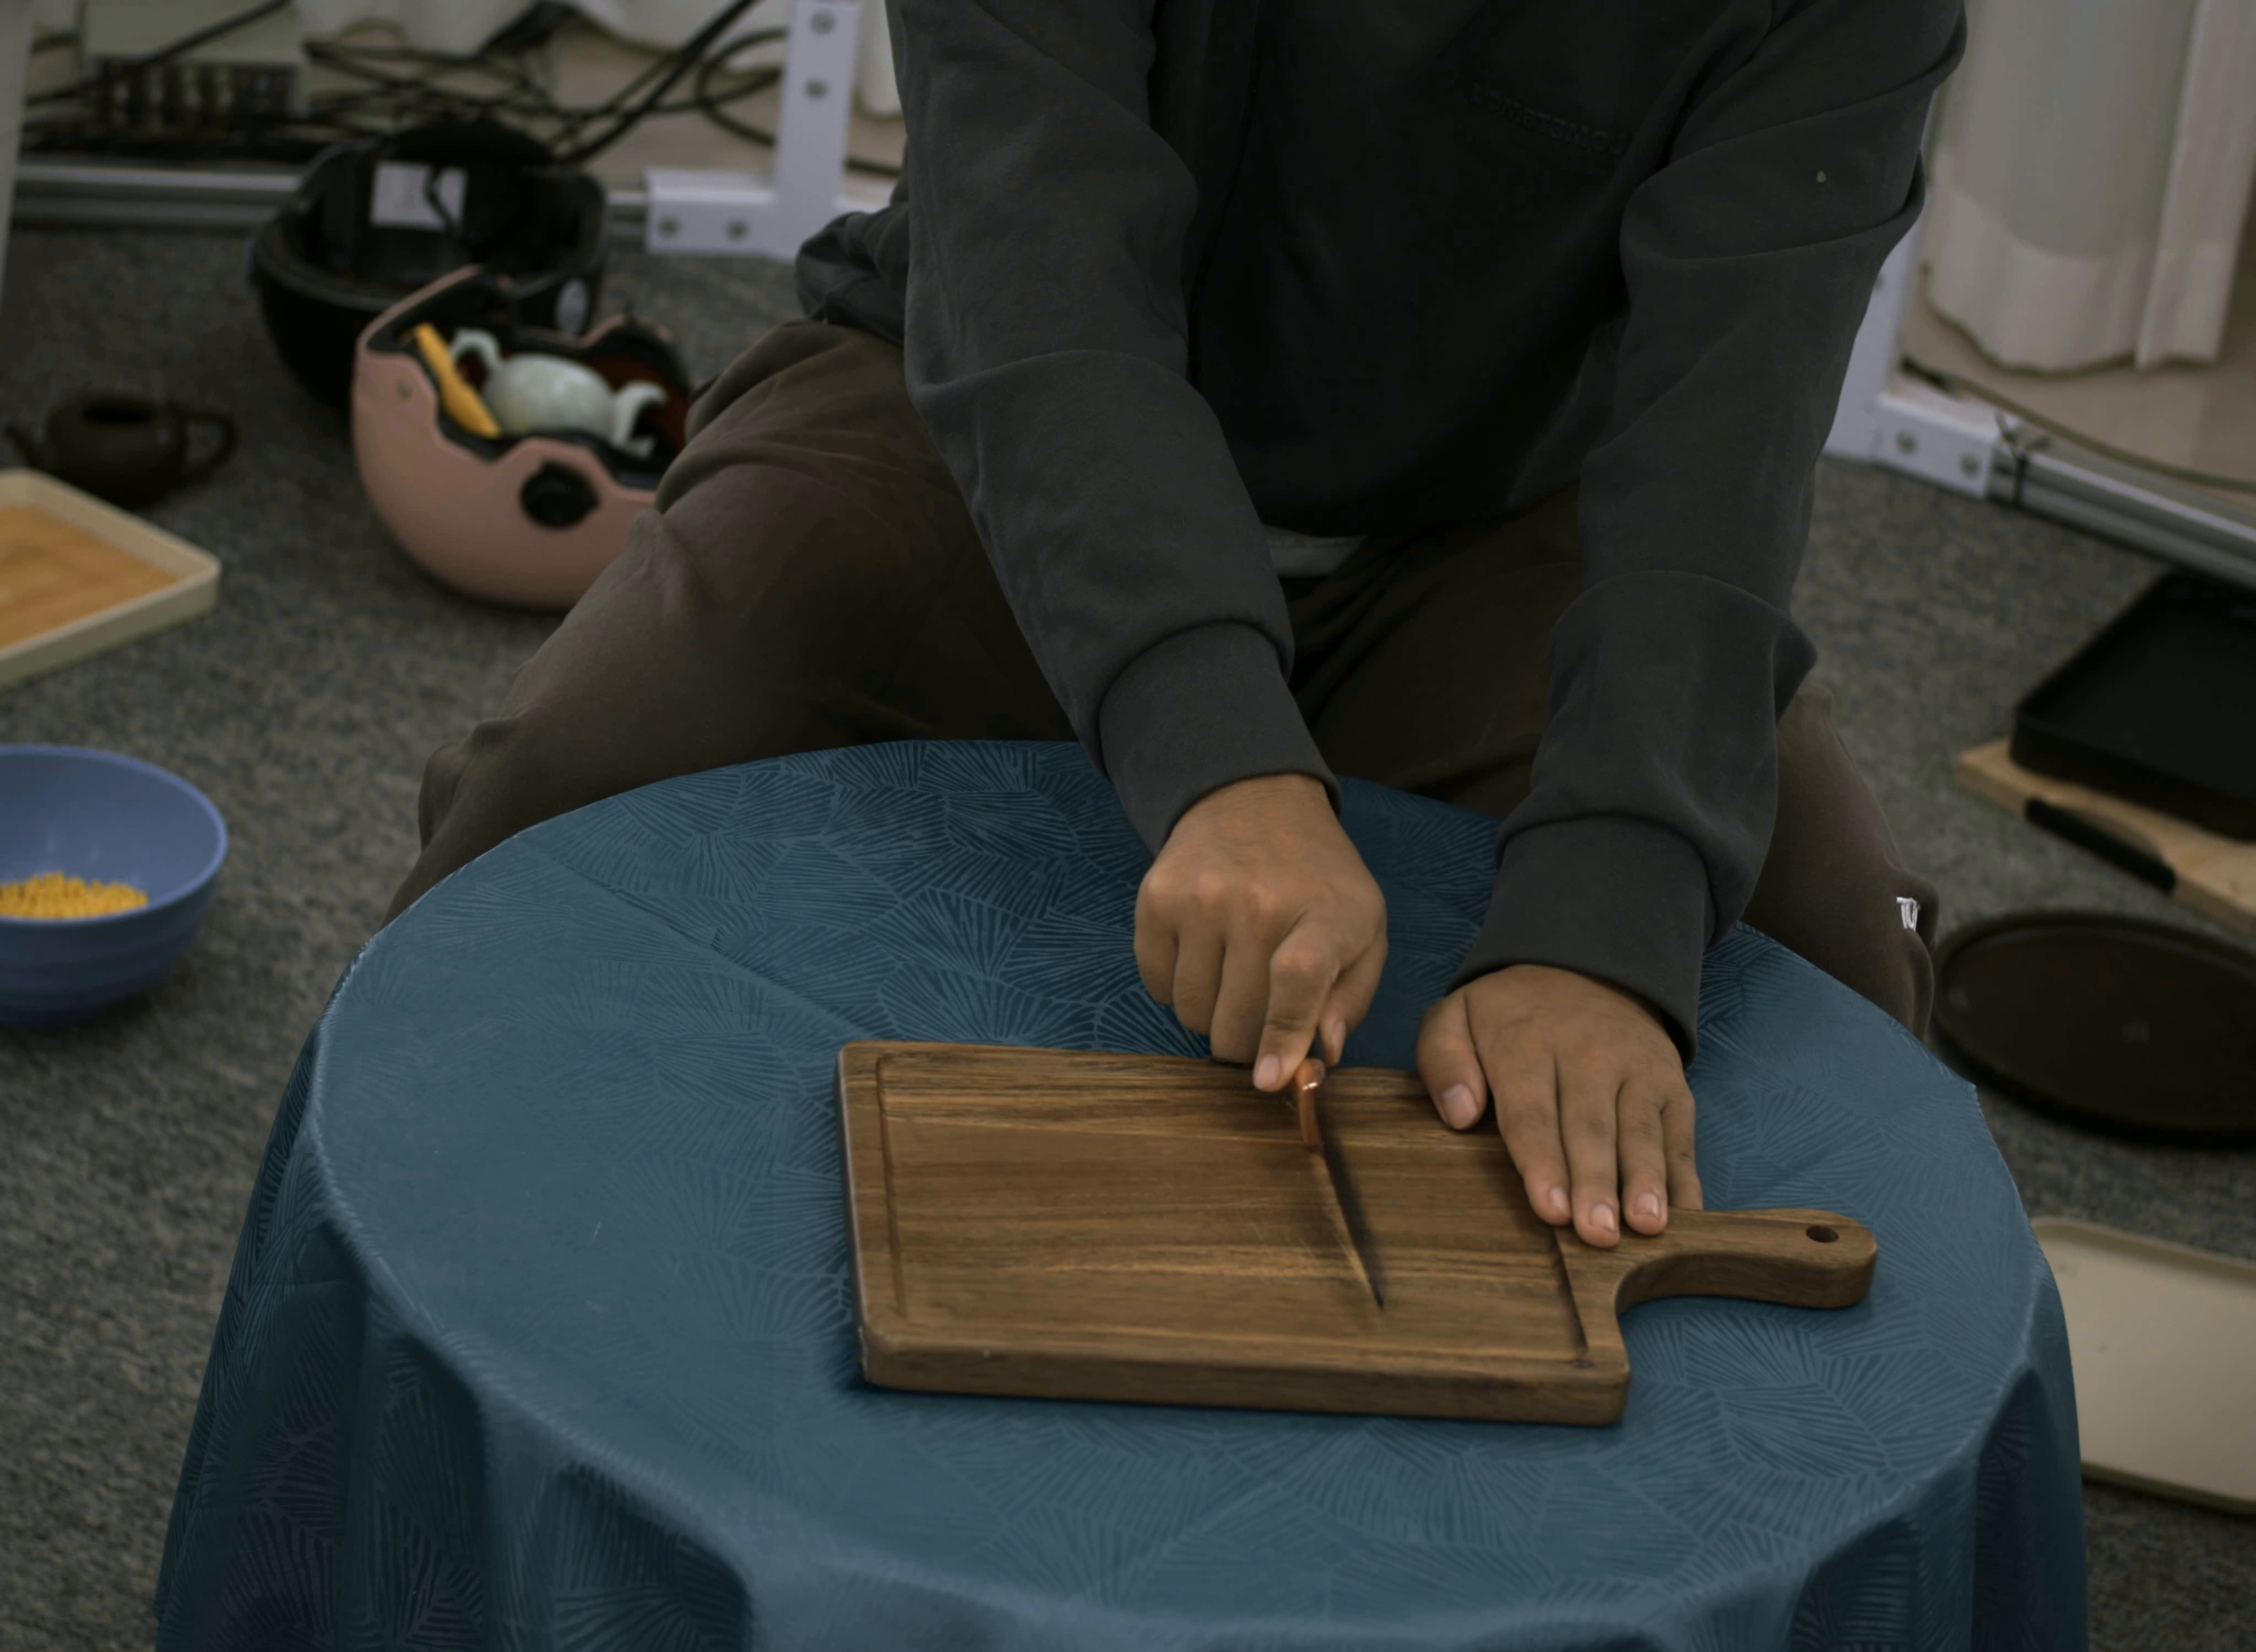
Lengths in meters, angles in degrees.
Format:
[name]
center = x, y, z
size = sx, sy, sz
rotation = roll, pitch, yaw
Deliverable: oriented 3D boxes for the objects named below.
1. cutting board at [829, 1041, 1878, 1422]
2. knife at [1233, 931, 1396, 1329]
[cutting board]
center = 0.079, 0.136, 1.779
size = 0.350, 0.023, 0.202
rotation = 3, 27, -7
[knife]
center = 0.064, 0.102, 1.803
size = 0.017, 0.026, 0.227
rotation = -6, 32, -9
